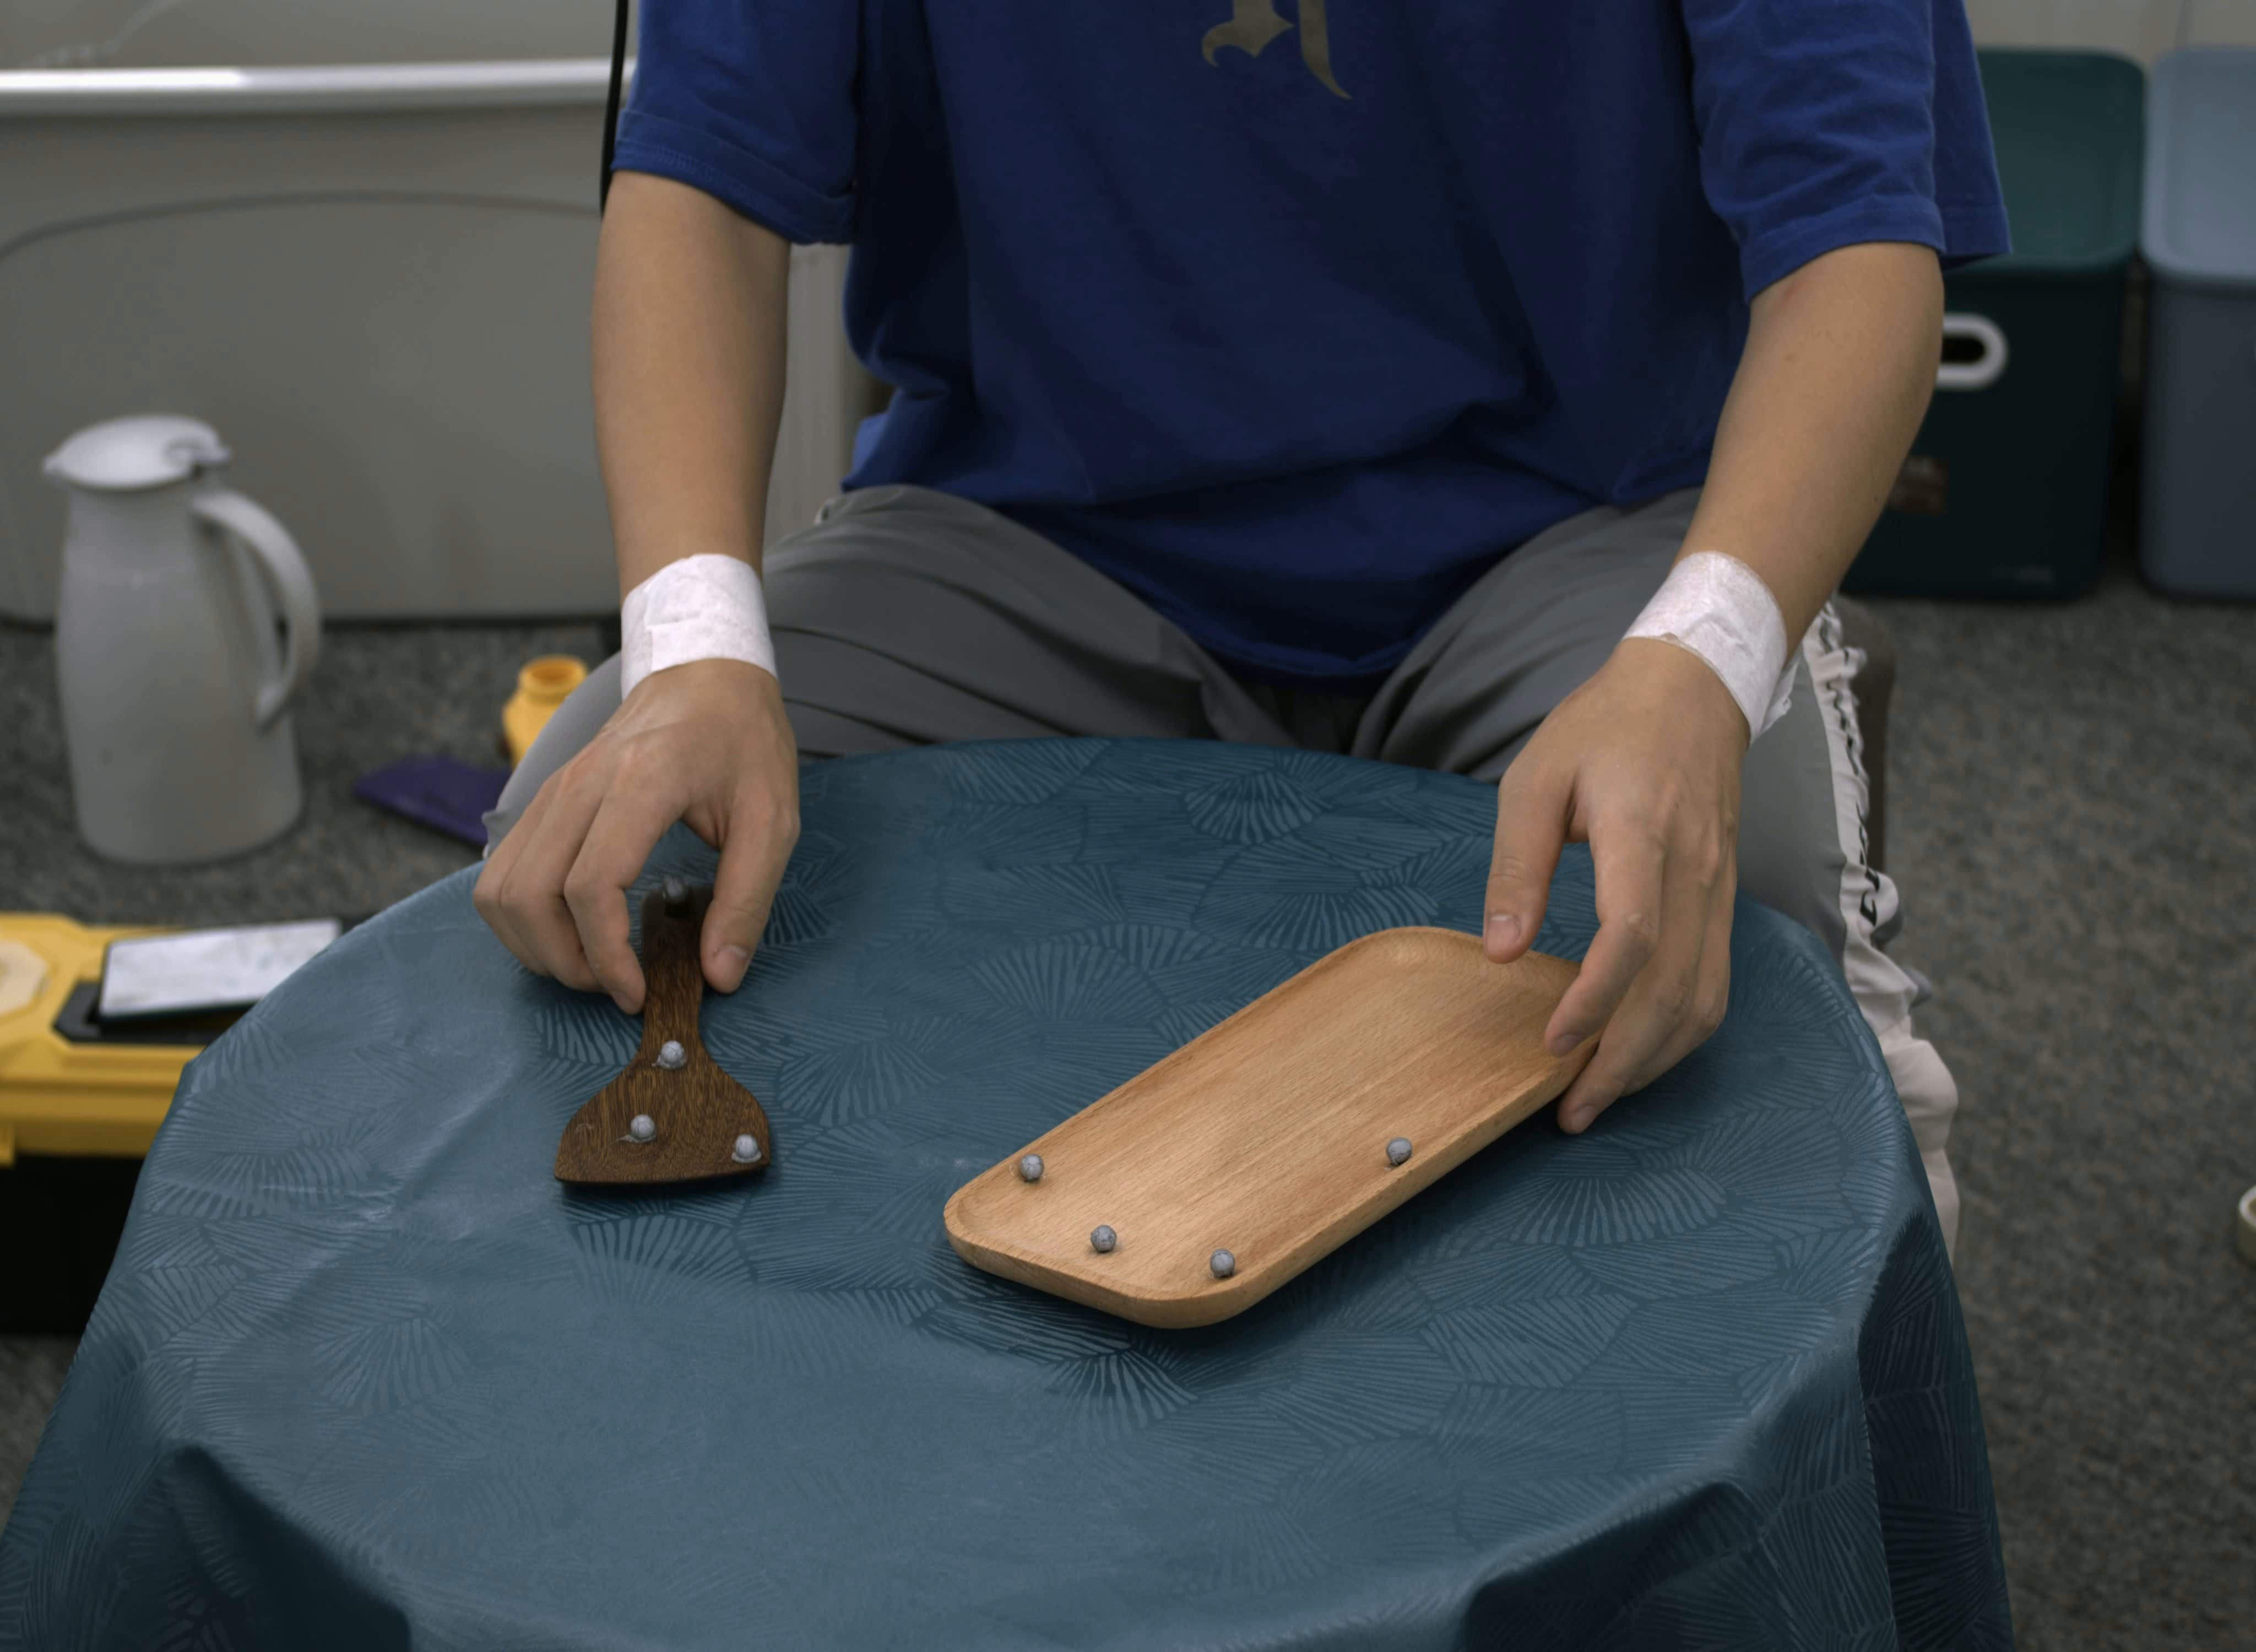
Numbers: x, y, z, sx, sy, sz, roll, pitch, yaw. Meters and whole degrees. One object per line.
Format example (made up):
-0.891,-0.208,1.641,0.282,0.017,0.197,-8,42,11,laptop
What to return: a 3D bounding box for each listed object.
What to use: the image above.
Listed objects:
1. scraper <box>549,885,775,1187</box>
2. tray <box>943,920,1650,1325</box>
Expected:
-0.160,0.073,1.960,0.075,0.011,0.214,-2,28,-2,scraper
0.059,0.096,1.870,0.130,0.022,0.254,18,34,40,tray
